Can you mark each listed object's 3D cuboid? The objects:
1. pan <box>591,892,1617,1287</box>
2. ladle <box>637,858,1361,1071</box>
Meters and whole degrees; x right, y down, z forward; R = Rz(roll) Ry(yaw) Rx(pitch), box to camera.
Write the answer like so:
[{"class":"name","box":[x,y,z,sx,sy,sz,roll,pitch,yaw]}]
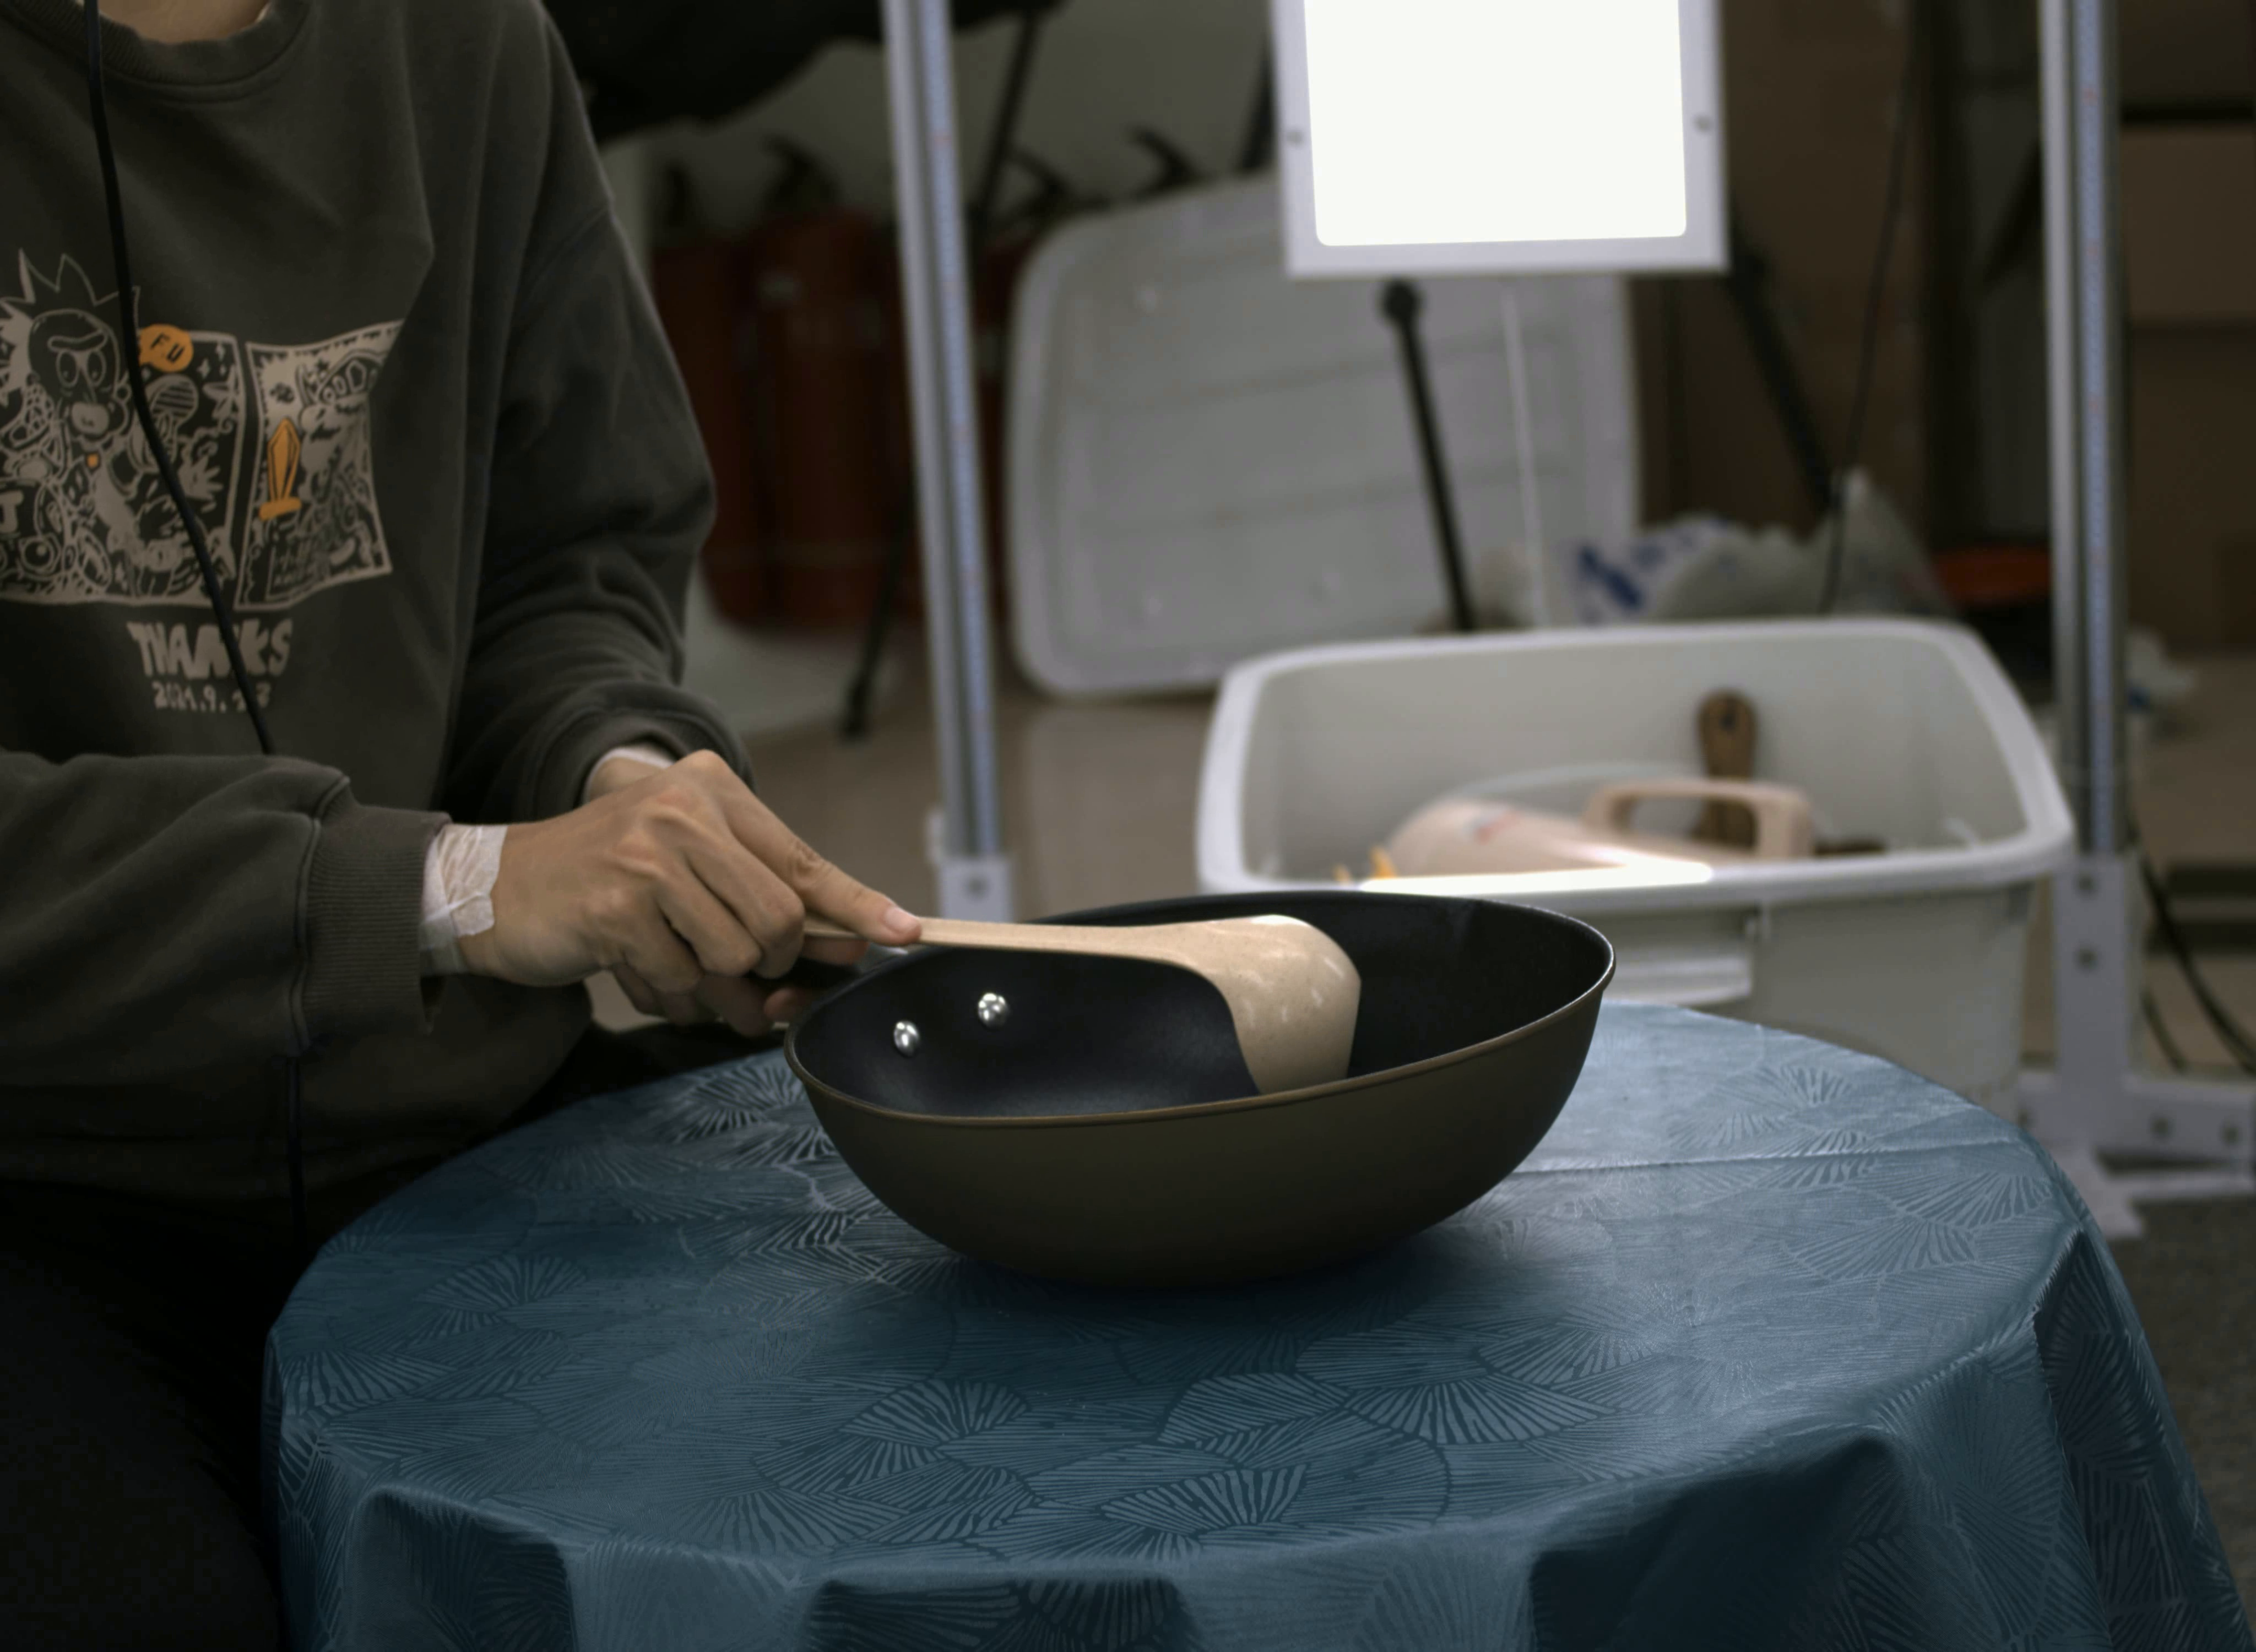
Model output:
[{"class":"pan","box":[-0.037,0.086,1.907,0.281,0.087,0.473,-18,16,-41]},{"class":"ladle","box":[-0.046,0.056,1.925,0.255,0.073,0.071,7,45,9]}]
